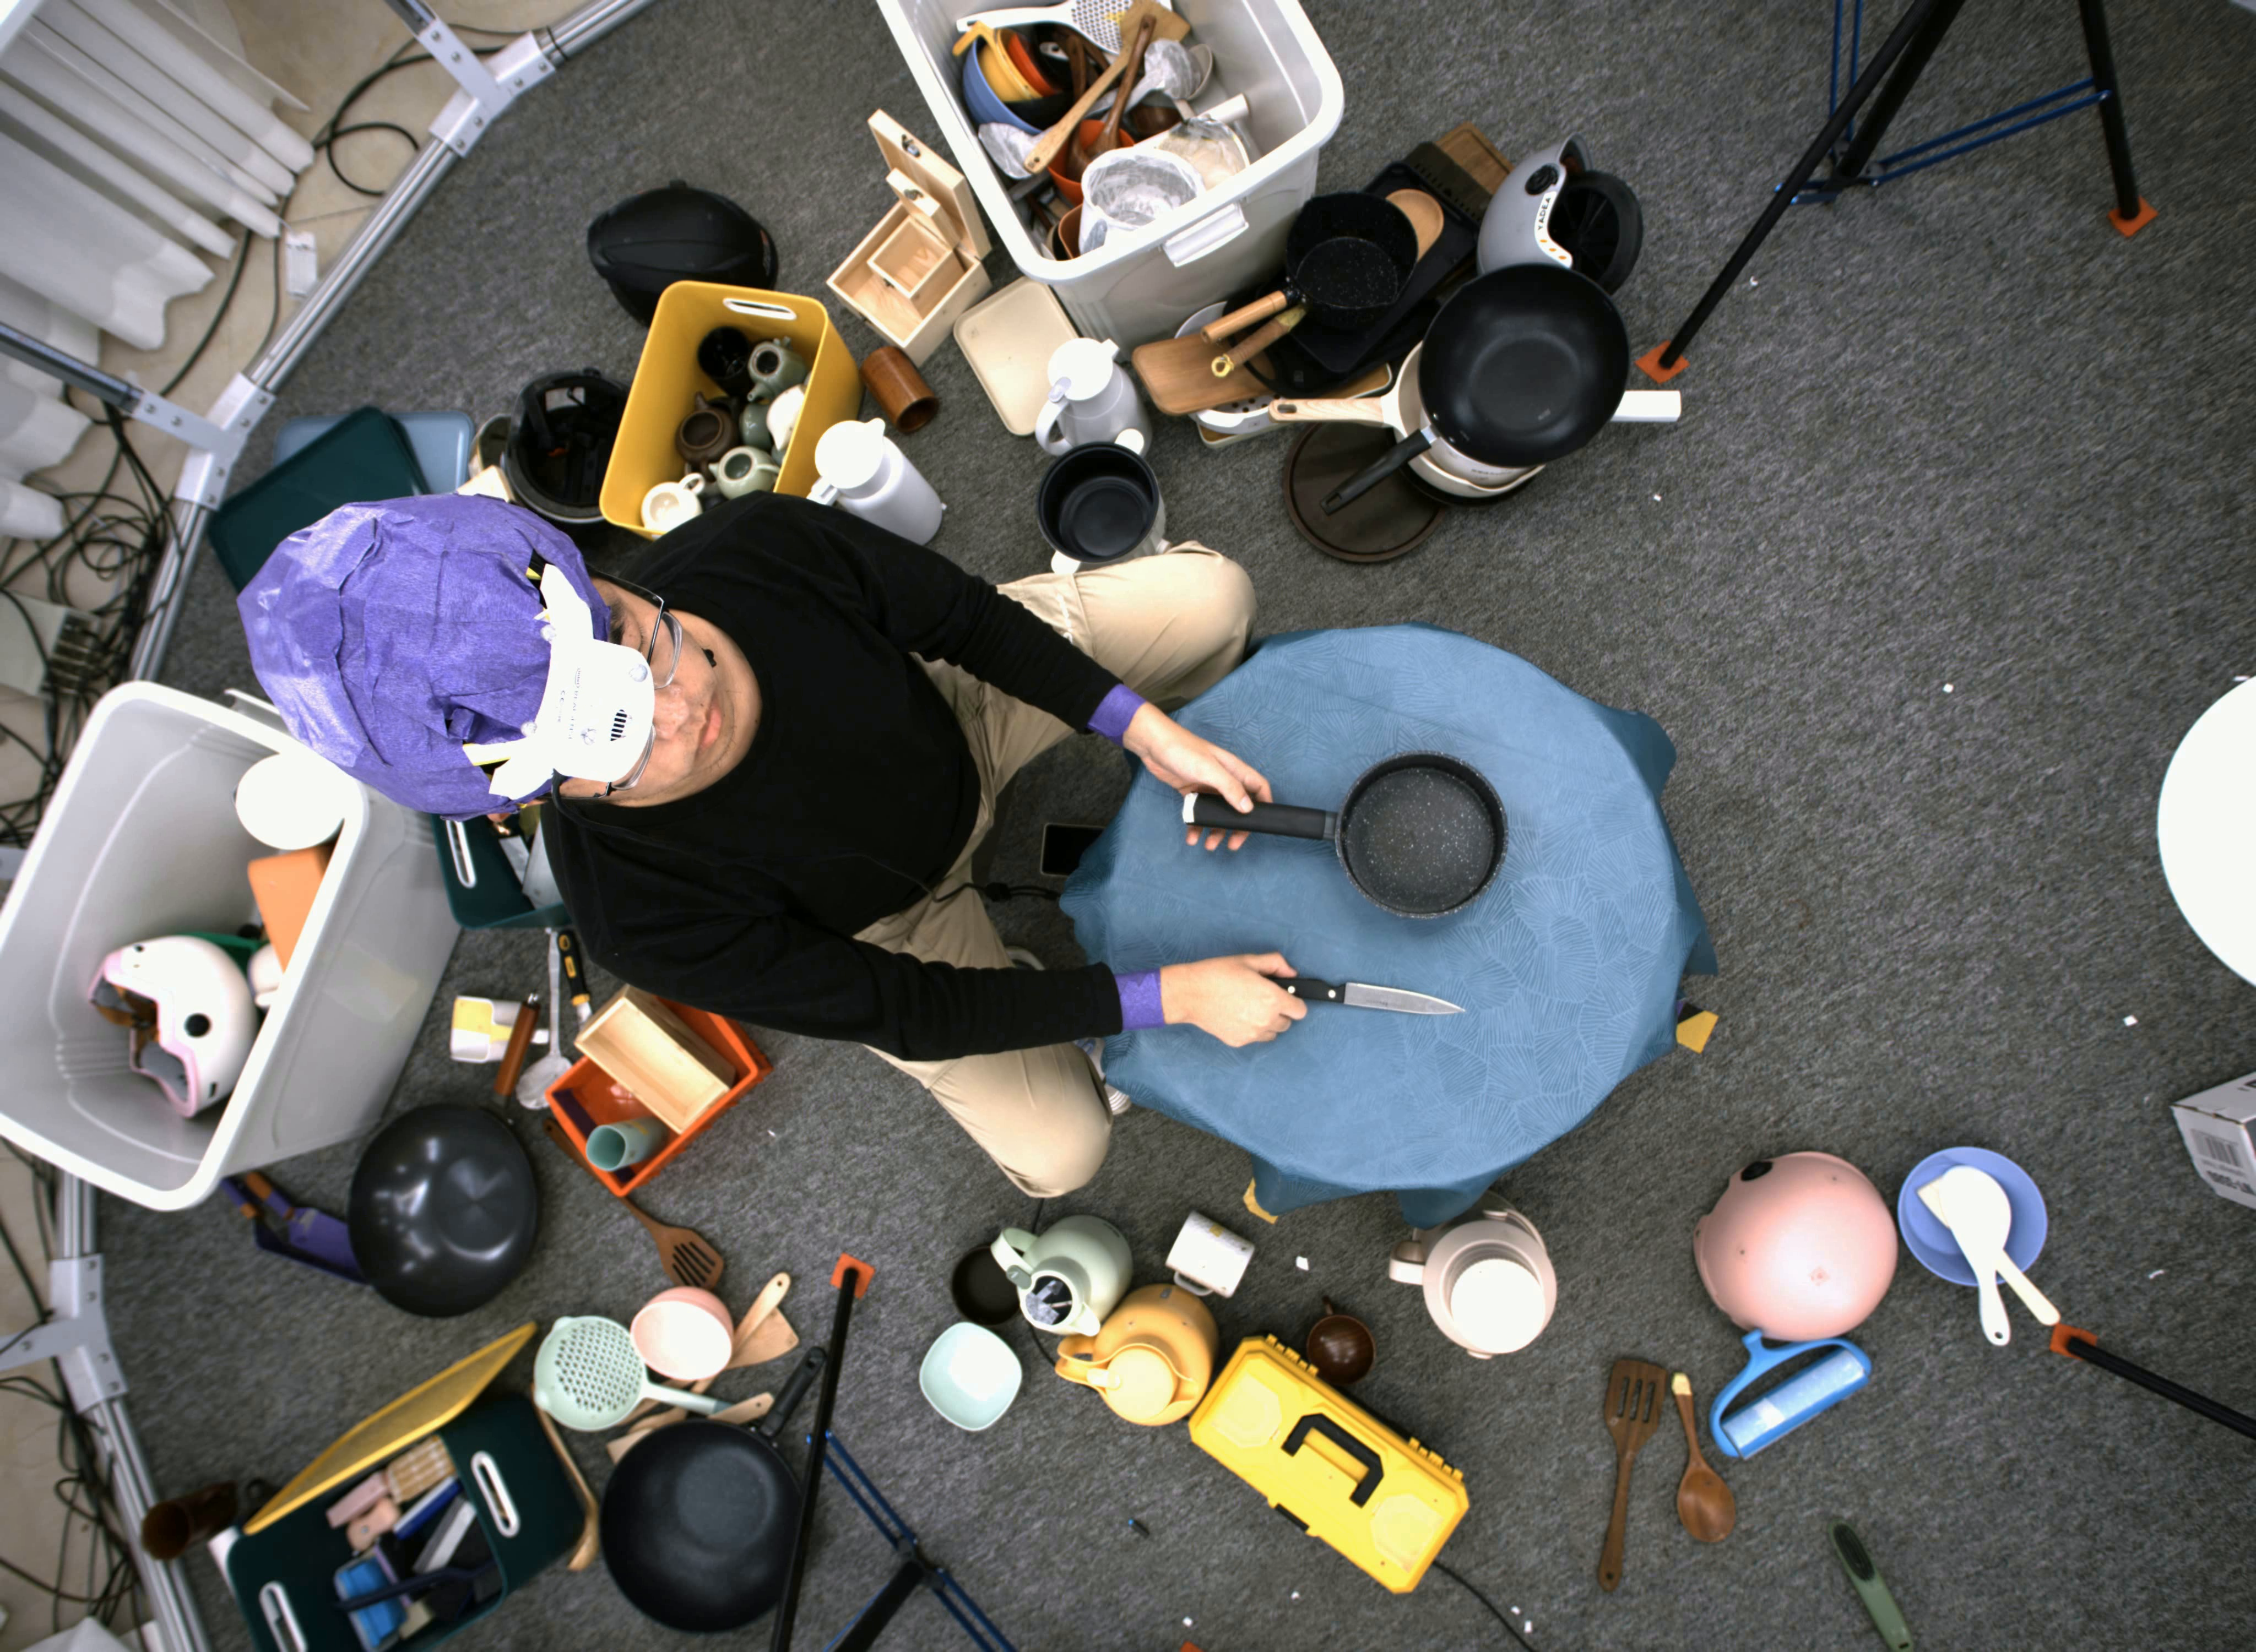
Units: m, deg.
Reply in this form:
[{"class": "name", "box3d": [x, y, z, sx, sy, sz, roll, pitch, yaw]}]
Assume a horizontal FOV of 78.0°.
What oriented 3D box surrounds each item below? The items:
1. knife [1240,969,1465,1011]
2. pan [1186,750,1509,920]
[{"class": "knife", "box3d": [0.235, 0.175, 1.454, 0.238, 0.016, 0.024, 7, 86, 7]}, {"class": "pan", "box3d": [0.224, -0.002, 1.431, 0.329, 0.086, 0.171, 10, 88, 10]}]
